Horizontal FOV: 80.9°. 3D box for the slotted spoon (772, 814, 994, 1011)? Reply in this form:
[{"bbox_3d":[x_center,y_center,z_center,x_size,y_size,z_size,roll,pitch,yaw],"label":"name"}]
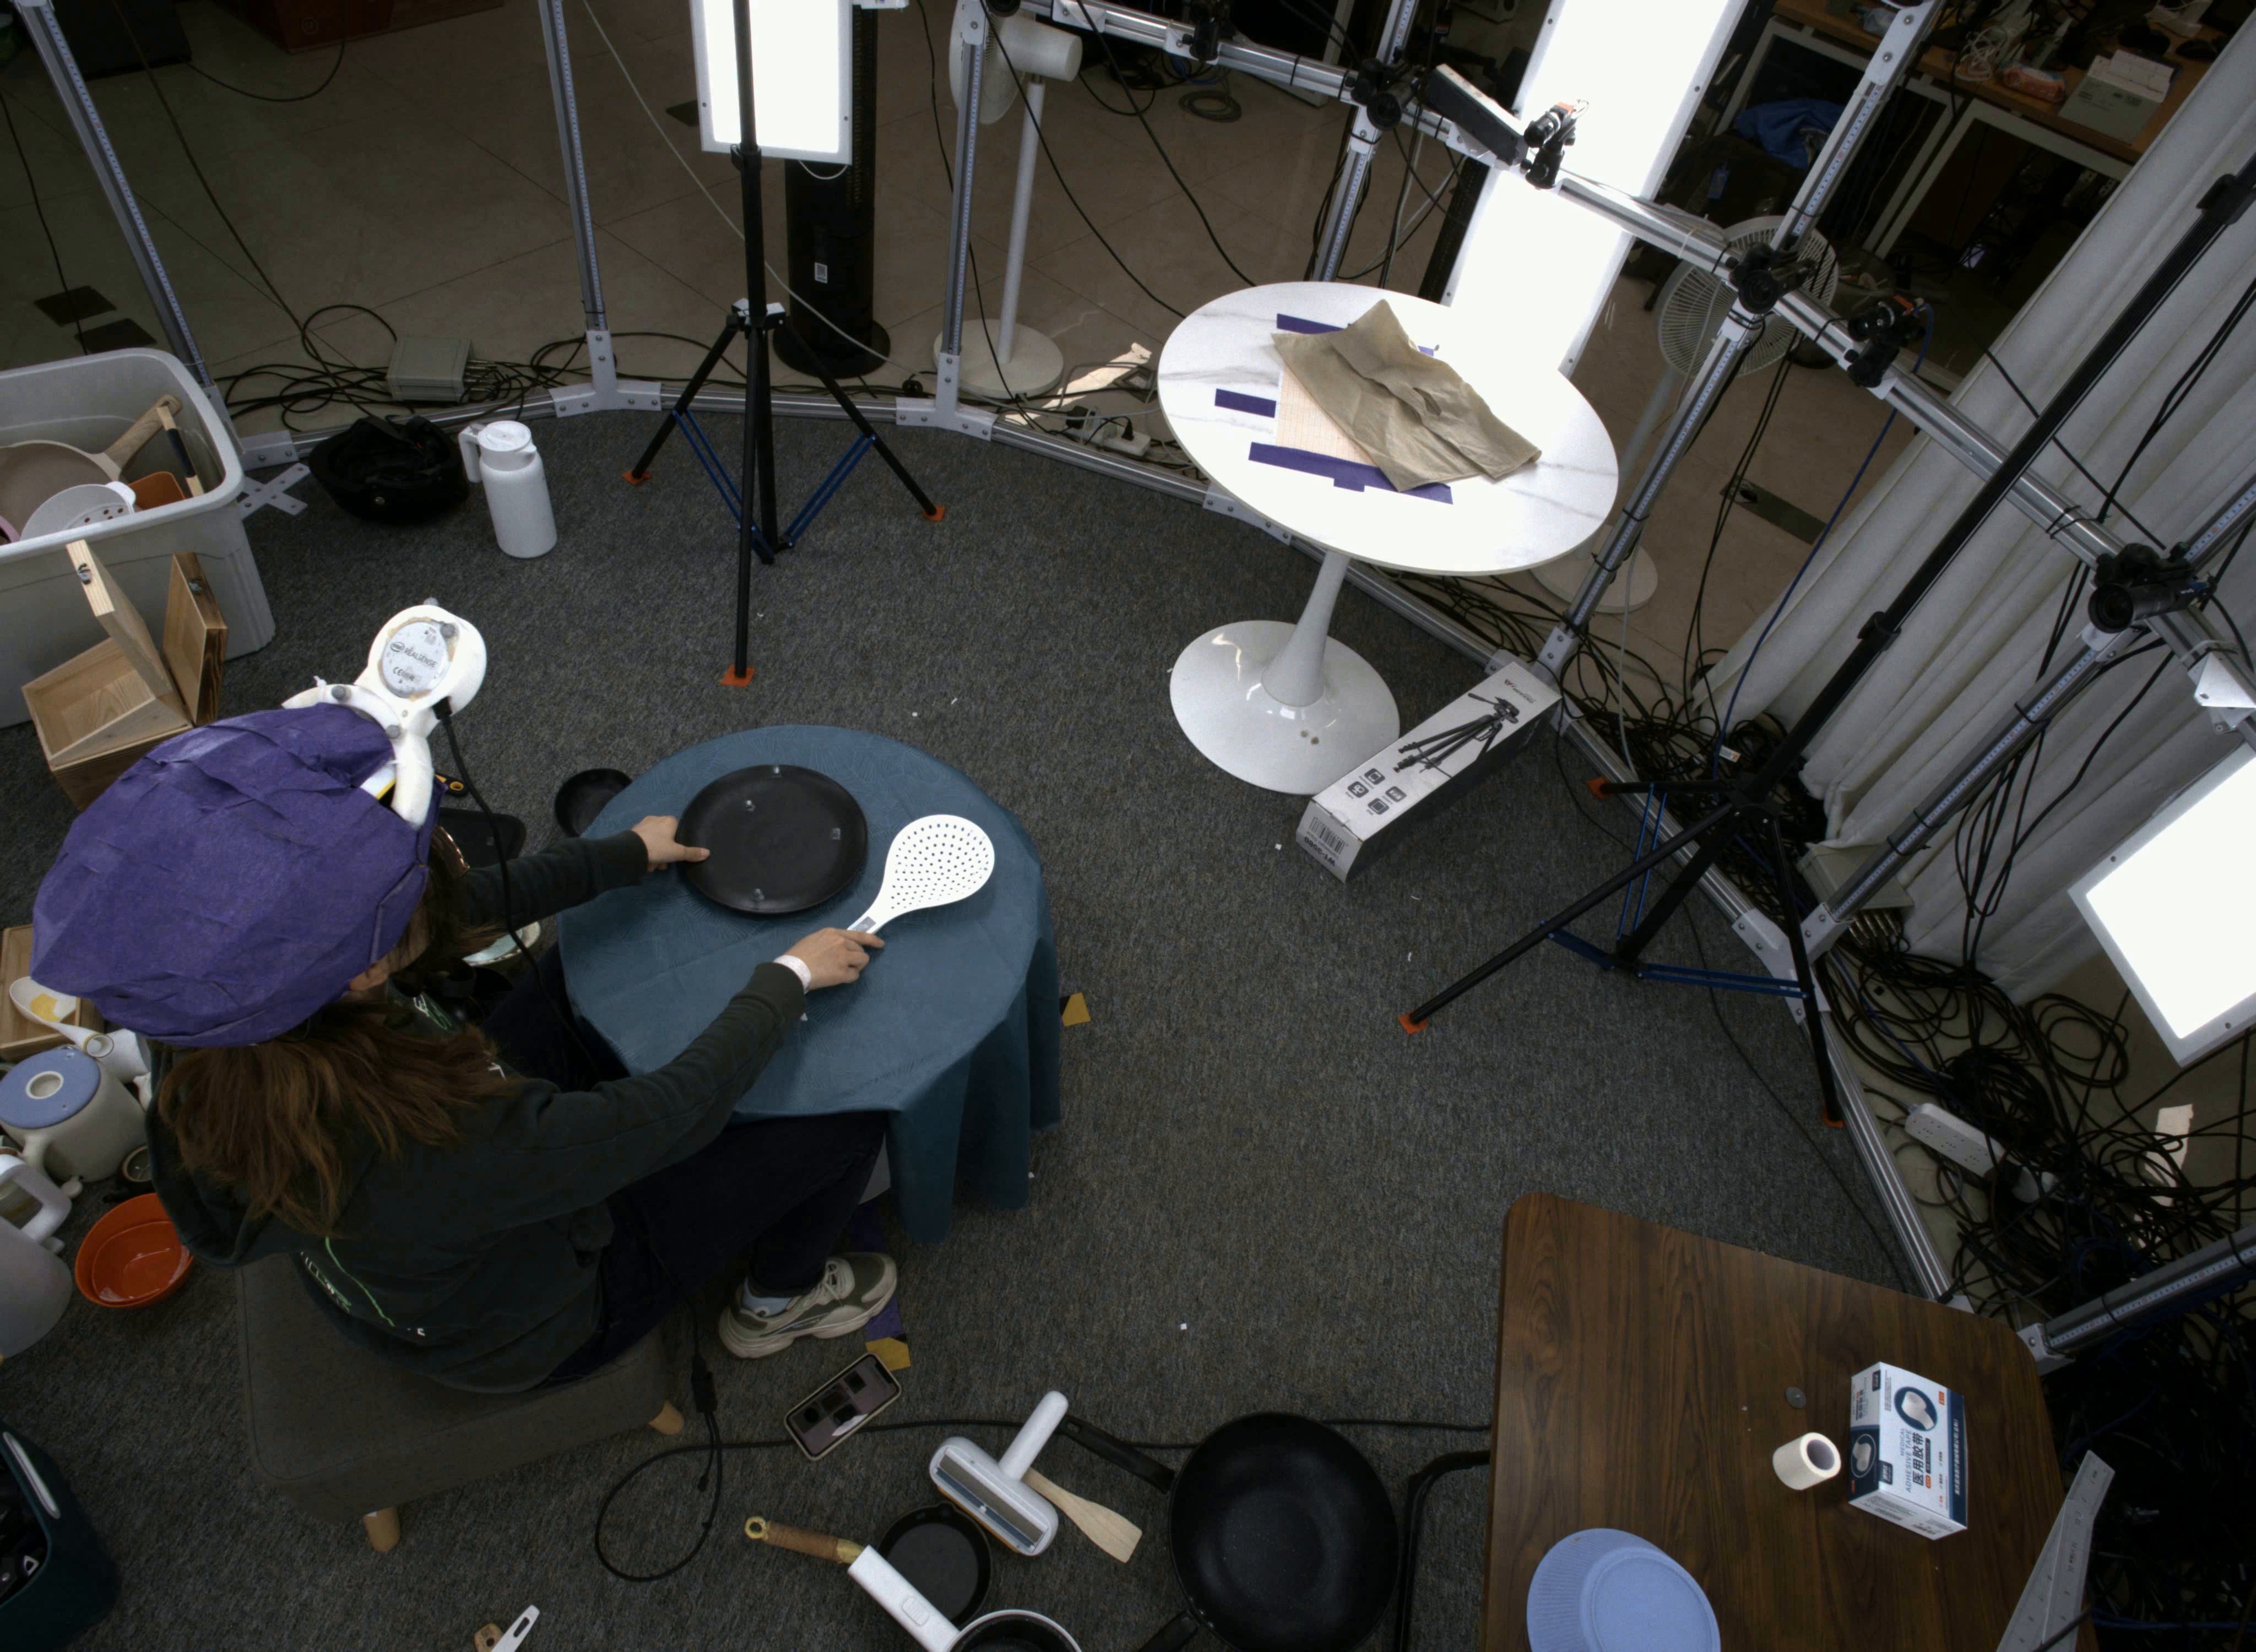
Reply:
[{"bbox_3d":[-0.312,0.108,1.648,0.133,0.047,0.350,36,54,17],"label":"slotted spoon"}]

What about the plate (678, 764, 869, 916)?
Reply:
[{"bbox_3d":[-0.462,0.018,1.691,0.244,0.024,0.240,8,53,-9],"label":"plate"}]
